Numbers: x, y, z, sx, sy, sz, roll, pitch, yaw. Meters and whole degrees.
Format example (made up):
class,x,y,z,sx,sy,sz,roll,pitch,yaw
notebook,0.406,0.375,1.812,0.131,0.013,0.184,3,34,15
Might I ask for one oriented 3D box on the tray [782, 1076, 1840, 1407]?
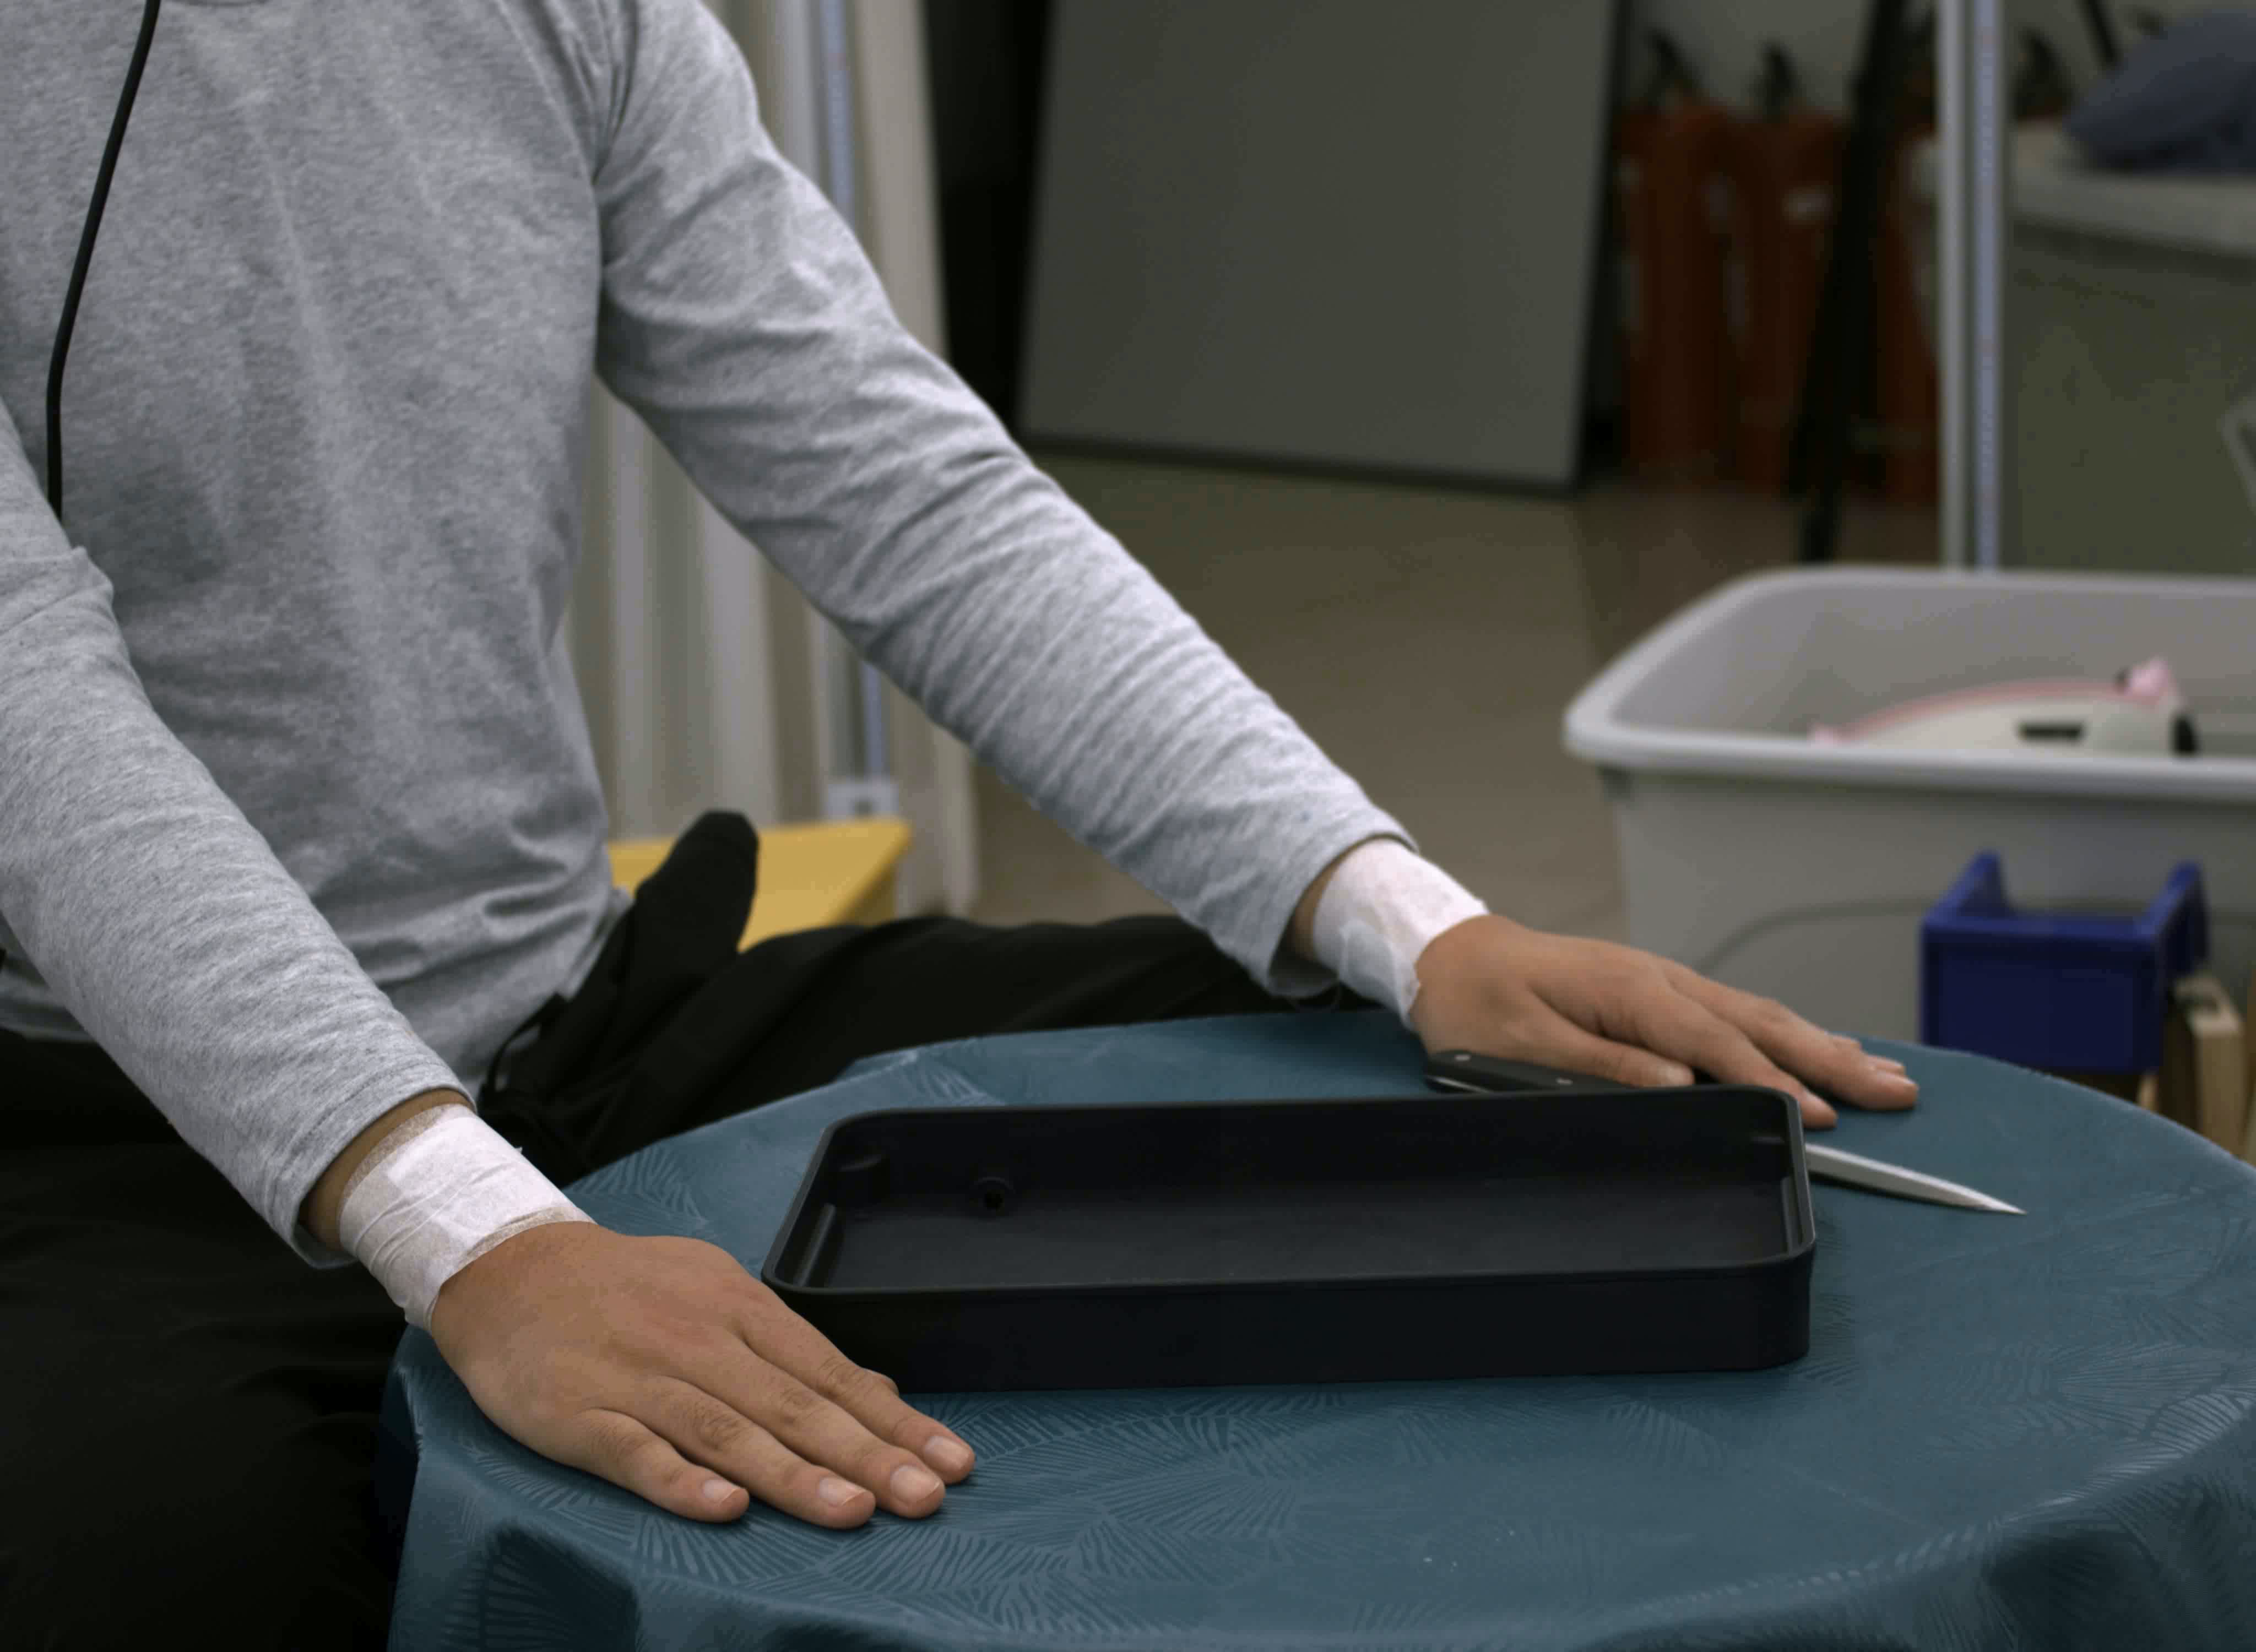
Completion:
class,x,y,z,sx,sy,sz,roll,pitch,yaw
tray,0.058,0.126,1.663,0.315,0.037,0.184,-4,13,6

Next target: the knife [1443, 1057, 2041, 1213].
class,x,y,z,sx,sy,sz,roll,pitch,yaw
knife,0.196,0.104,1.766,0.240,0.016,0.024,11,19,41
